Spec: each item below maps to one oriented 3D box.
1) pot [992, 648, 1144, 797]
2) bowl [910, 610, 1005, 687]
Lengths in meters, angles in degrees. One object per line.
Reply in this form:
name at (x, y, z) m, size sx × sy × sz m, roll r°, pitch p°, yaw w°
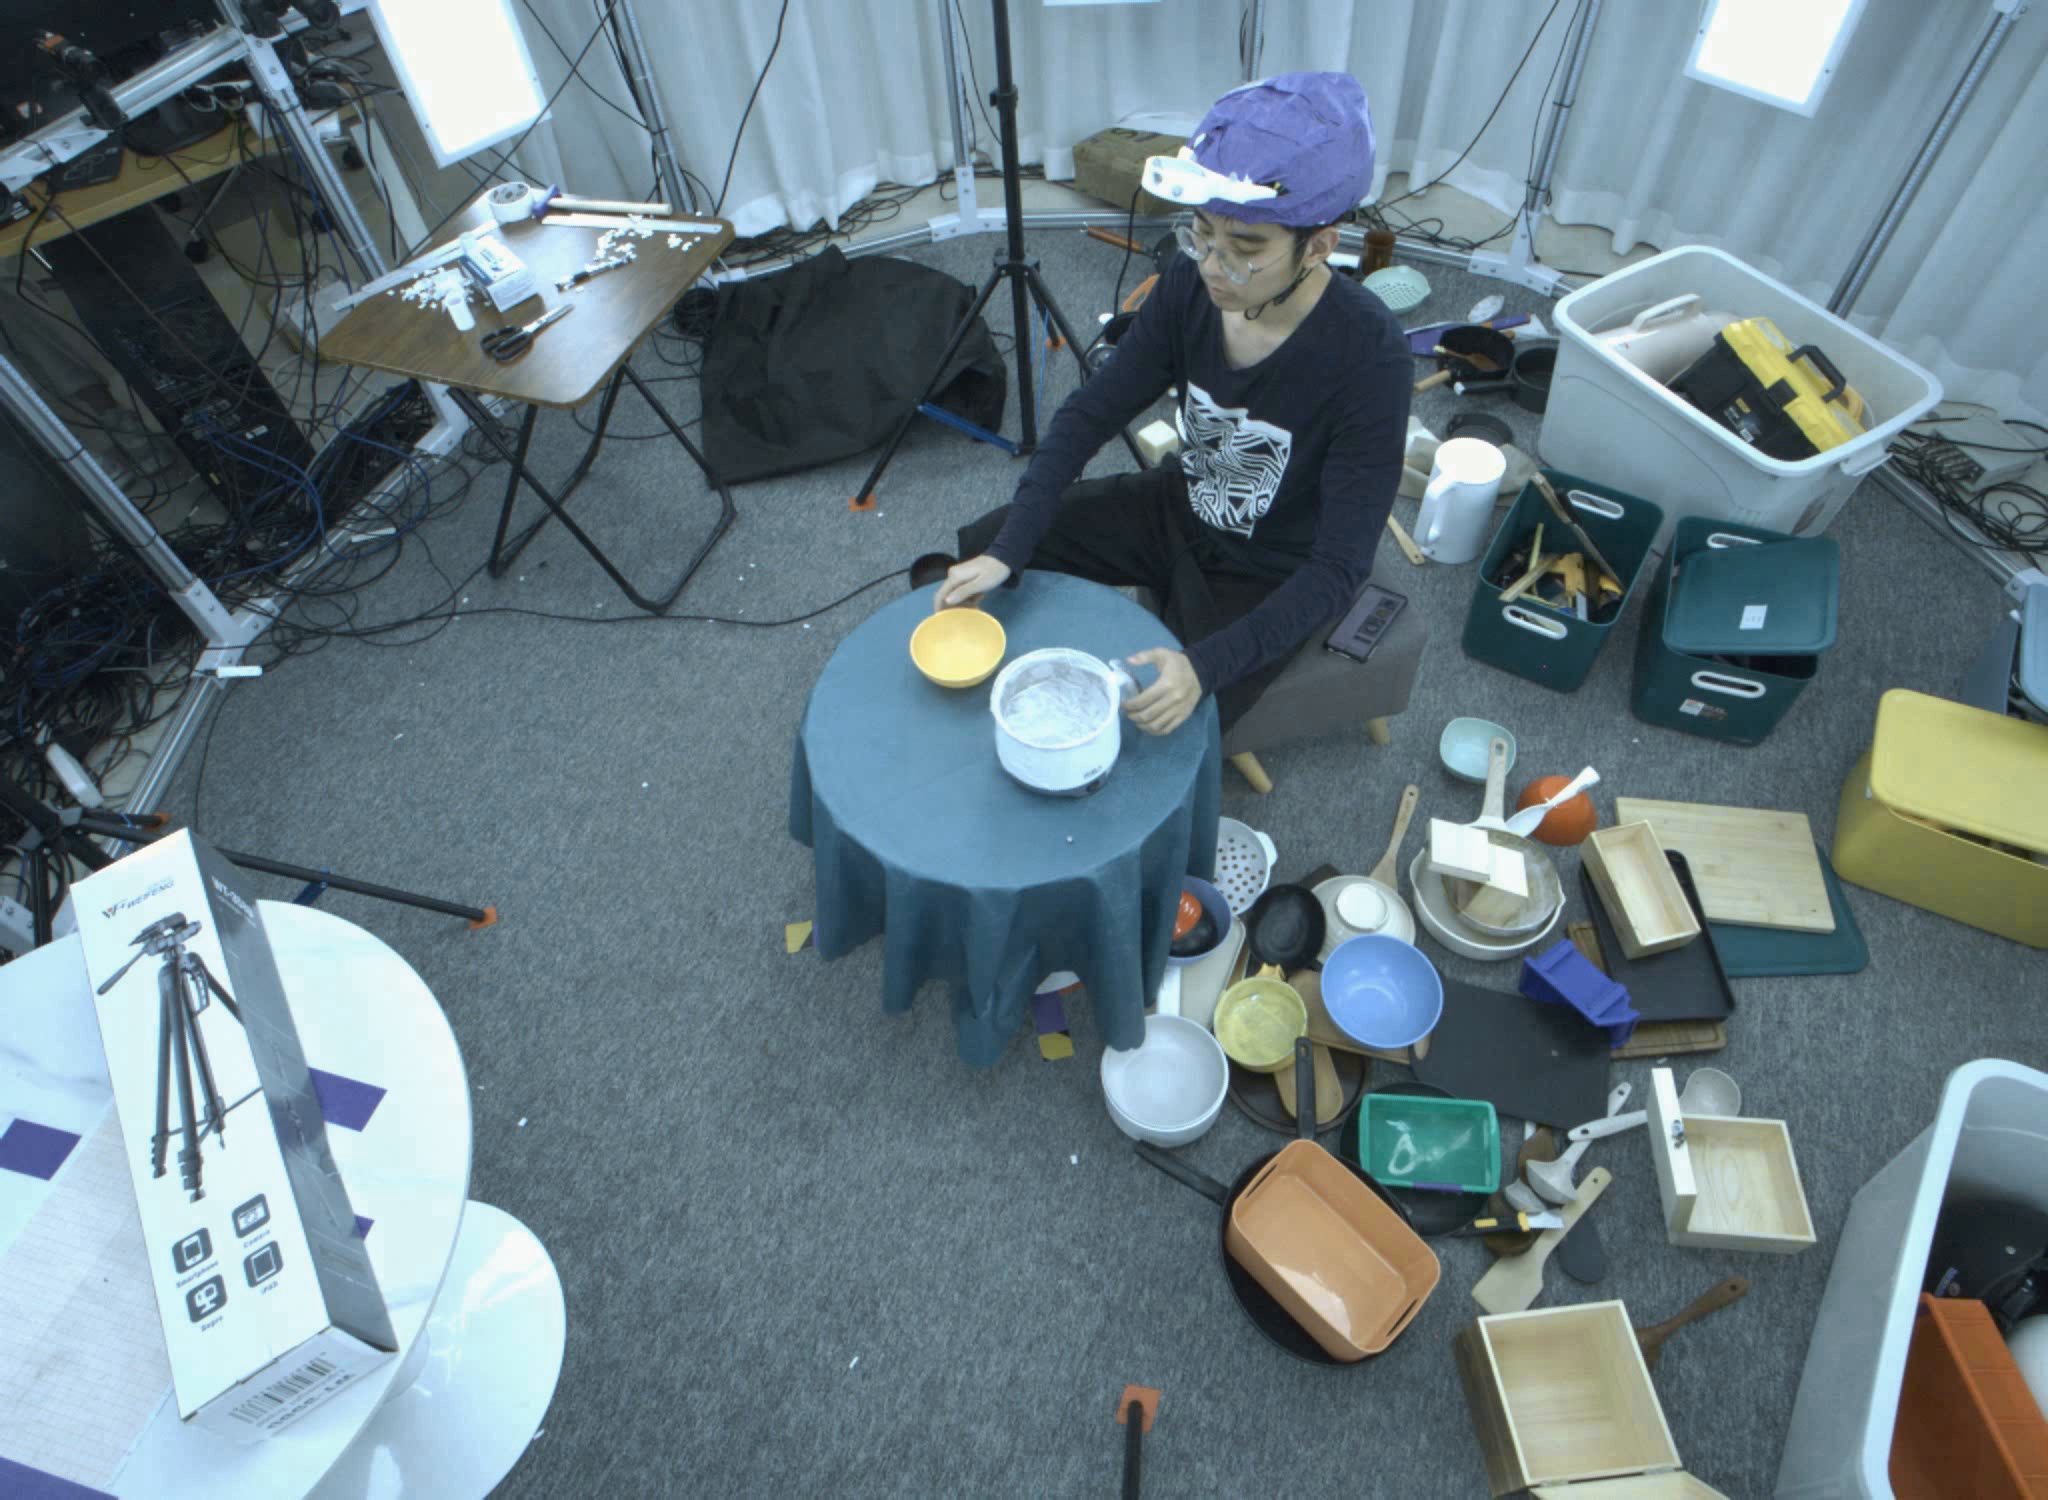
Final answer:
pot at (0.070, -0.048, 1.745) m, size 0.236 × 0.138 × 0.175 m, roll -30°, pitch 59°, yaw -19°
bowl at (-0.099, -0.143, 1.861) m, size 0.145 × 0.061 × 0.144 m, roll 0°, pitch 52°, yaw 1°
